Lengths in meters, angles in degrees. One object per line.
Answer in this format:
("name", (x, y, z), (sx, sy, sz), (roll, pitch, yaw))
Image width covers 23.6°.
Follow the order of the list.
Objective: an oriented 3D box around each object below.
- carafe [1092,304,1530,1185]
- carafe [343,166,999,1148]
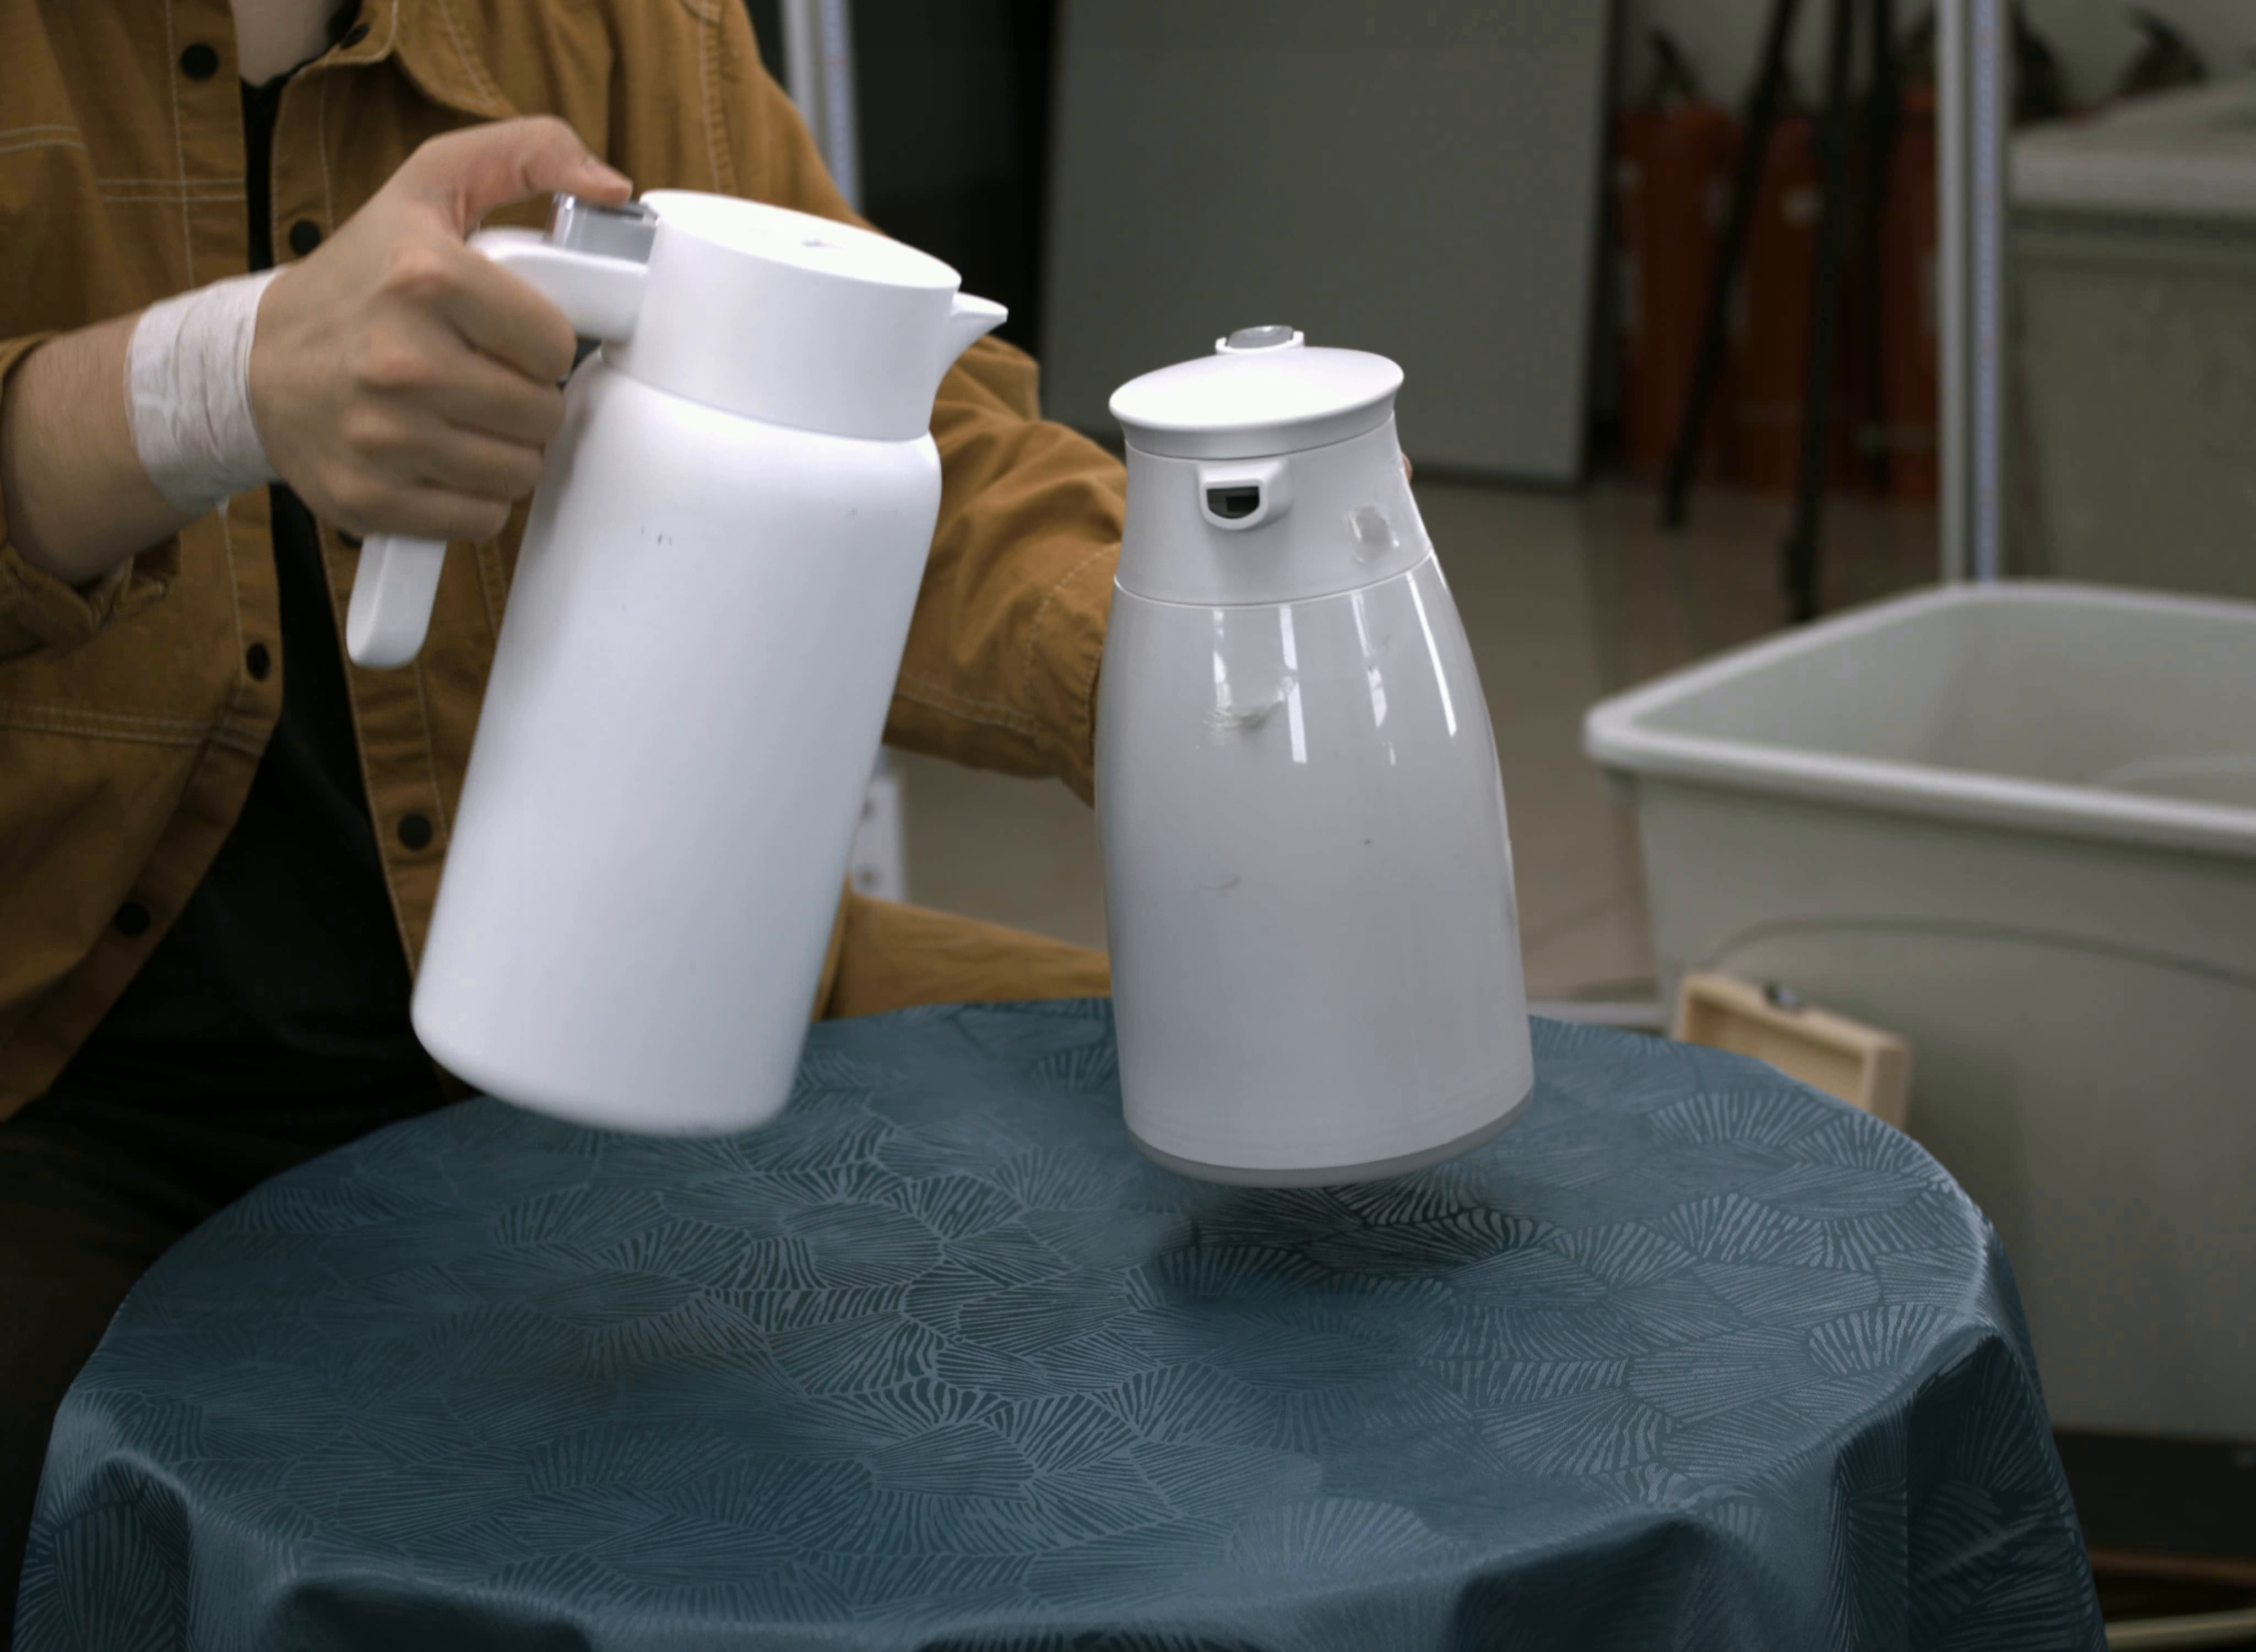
("carafe", (0.052, -0.034, 1.697), (0.131, 0.251, 0.167), (-4, 17, 10))
("carafe", (-0.143, -0.050, 1.583), (0.169, 0.272, 0.125), (8, 16, -22))
